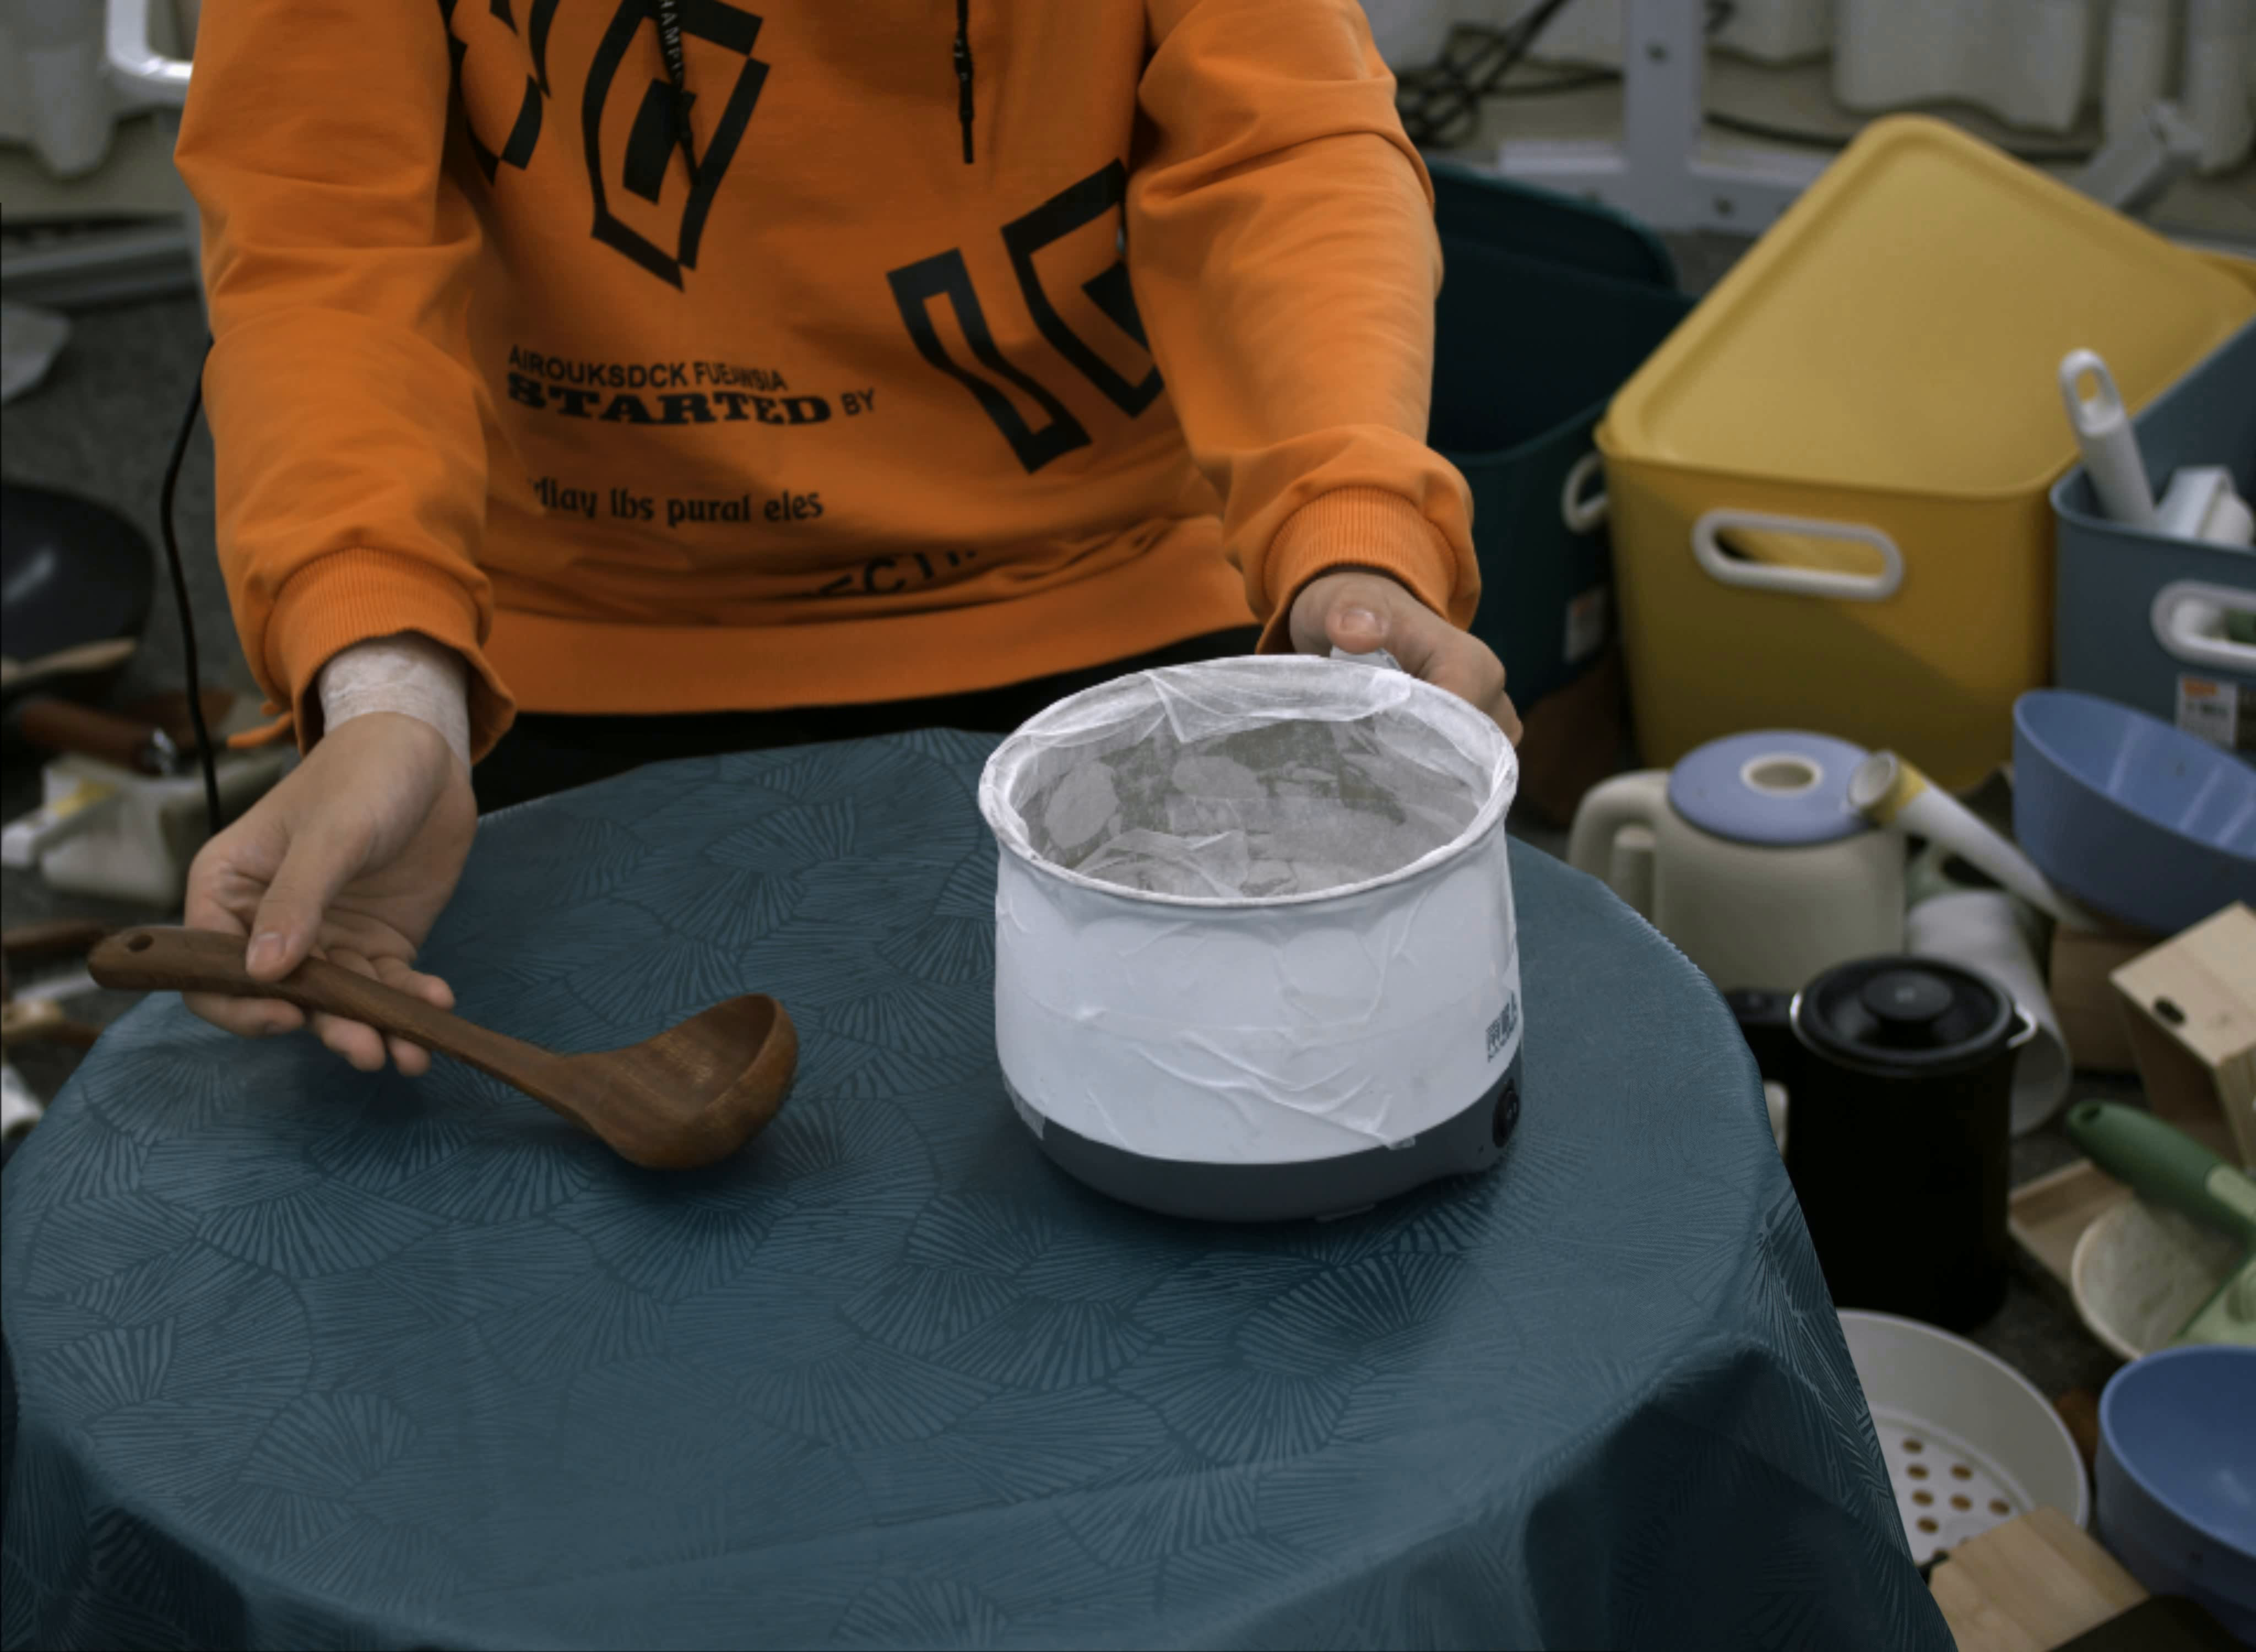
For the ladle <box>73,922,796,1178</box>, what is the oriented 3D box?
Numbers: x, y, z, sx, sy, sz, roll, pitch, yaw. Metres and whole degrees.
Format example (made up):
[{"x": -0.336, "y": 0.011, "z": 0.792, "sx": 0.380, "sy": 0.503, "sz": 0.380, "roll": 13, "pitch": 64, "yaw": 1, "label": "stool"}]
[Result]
[{"x": -0.236, "y": 0.061, "z": 1.901, "sx": 0.259, "sy": 0.064, "sz": 0.078, "roll": 17, "pitch": 36, "yaw": 10, "label": "ladle"}]

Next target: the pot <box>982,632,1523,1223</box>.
[{"x": 0.053, "y": 0.026, "z": 1.892, "sx": 0.177, "sy": 0.135, "sz": 0.238, "roll": 8, "pitch": 29, "yaw": 20, "label": "pot"}]
